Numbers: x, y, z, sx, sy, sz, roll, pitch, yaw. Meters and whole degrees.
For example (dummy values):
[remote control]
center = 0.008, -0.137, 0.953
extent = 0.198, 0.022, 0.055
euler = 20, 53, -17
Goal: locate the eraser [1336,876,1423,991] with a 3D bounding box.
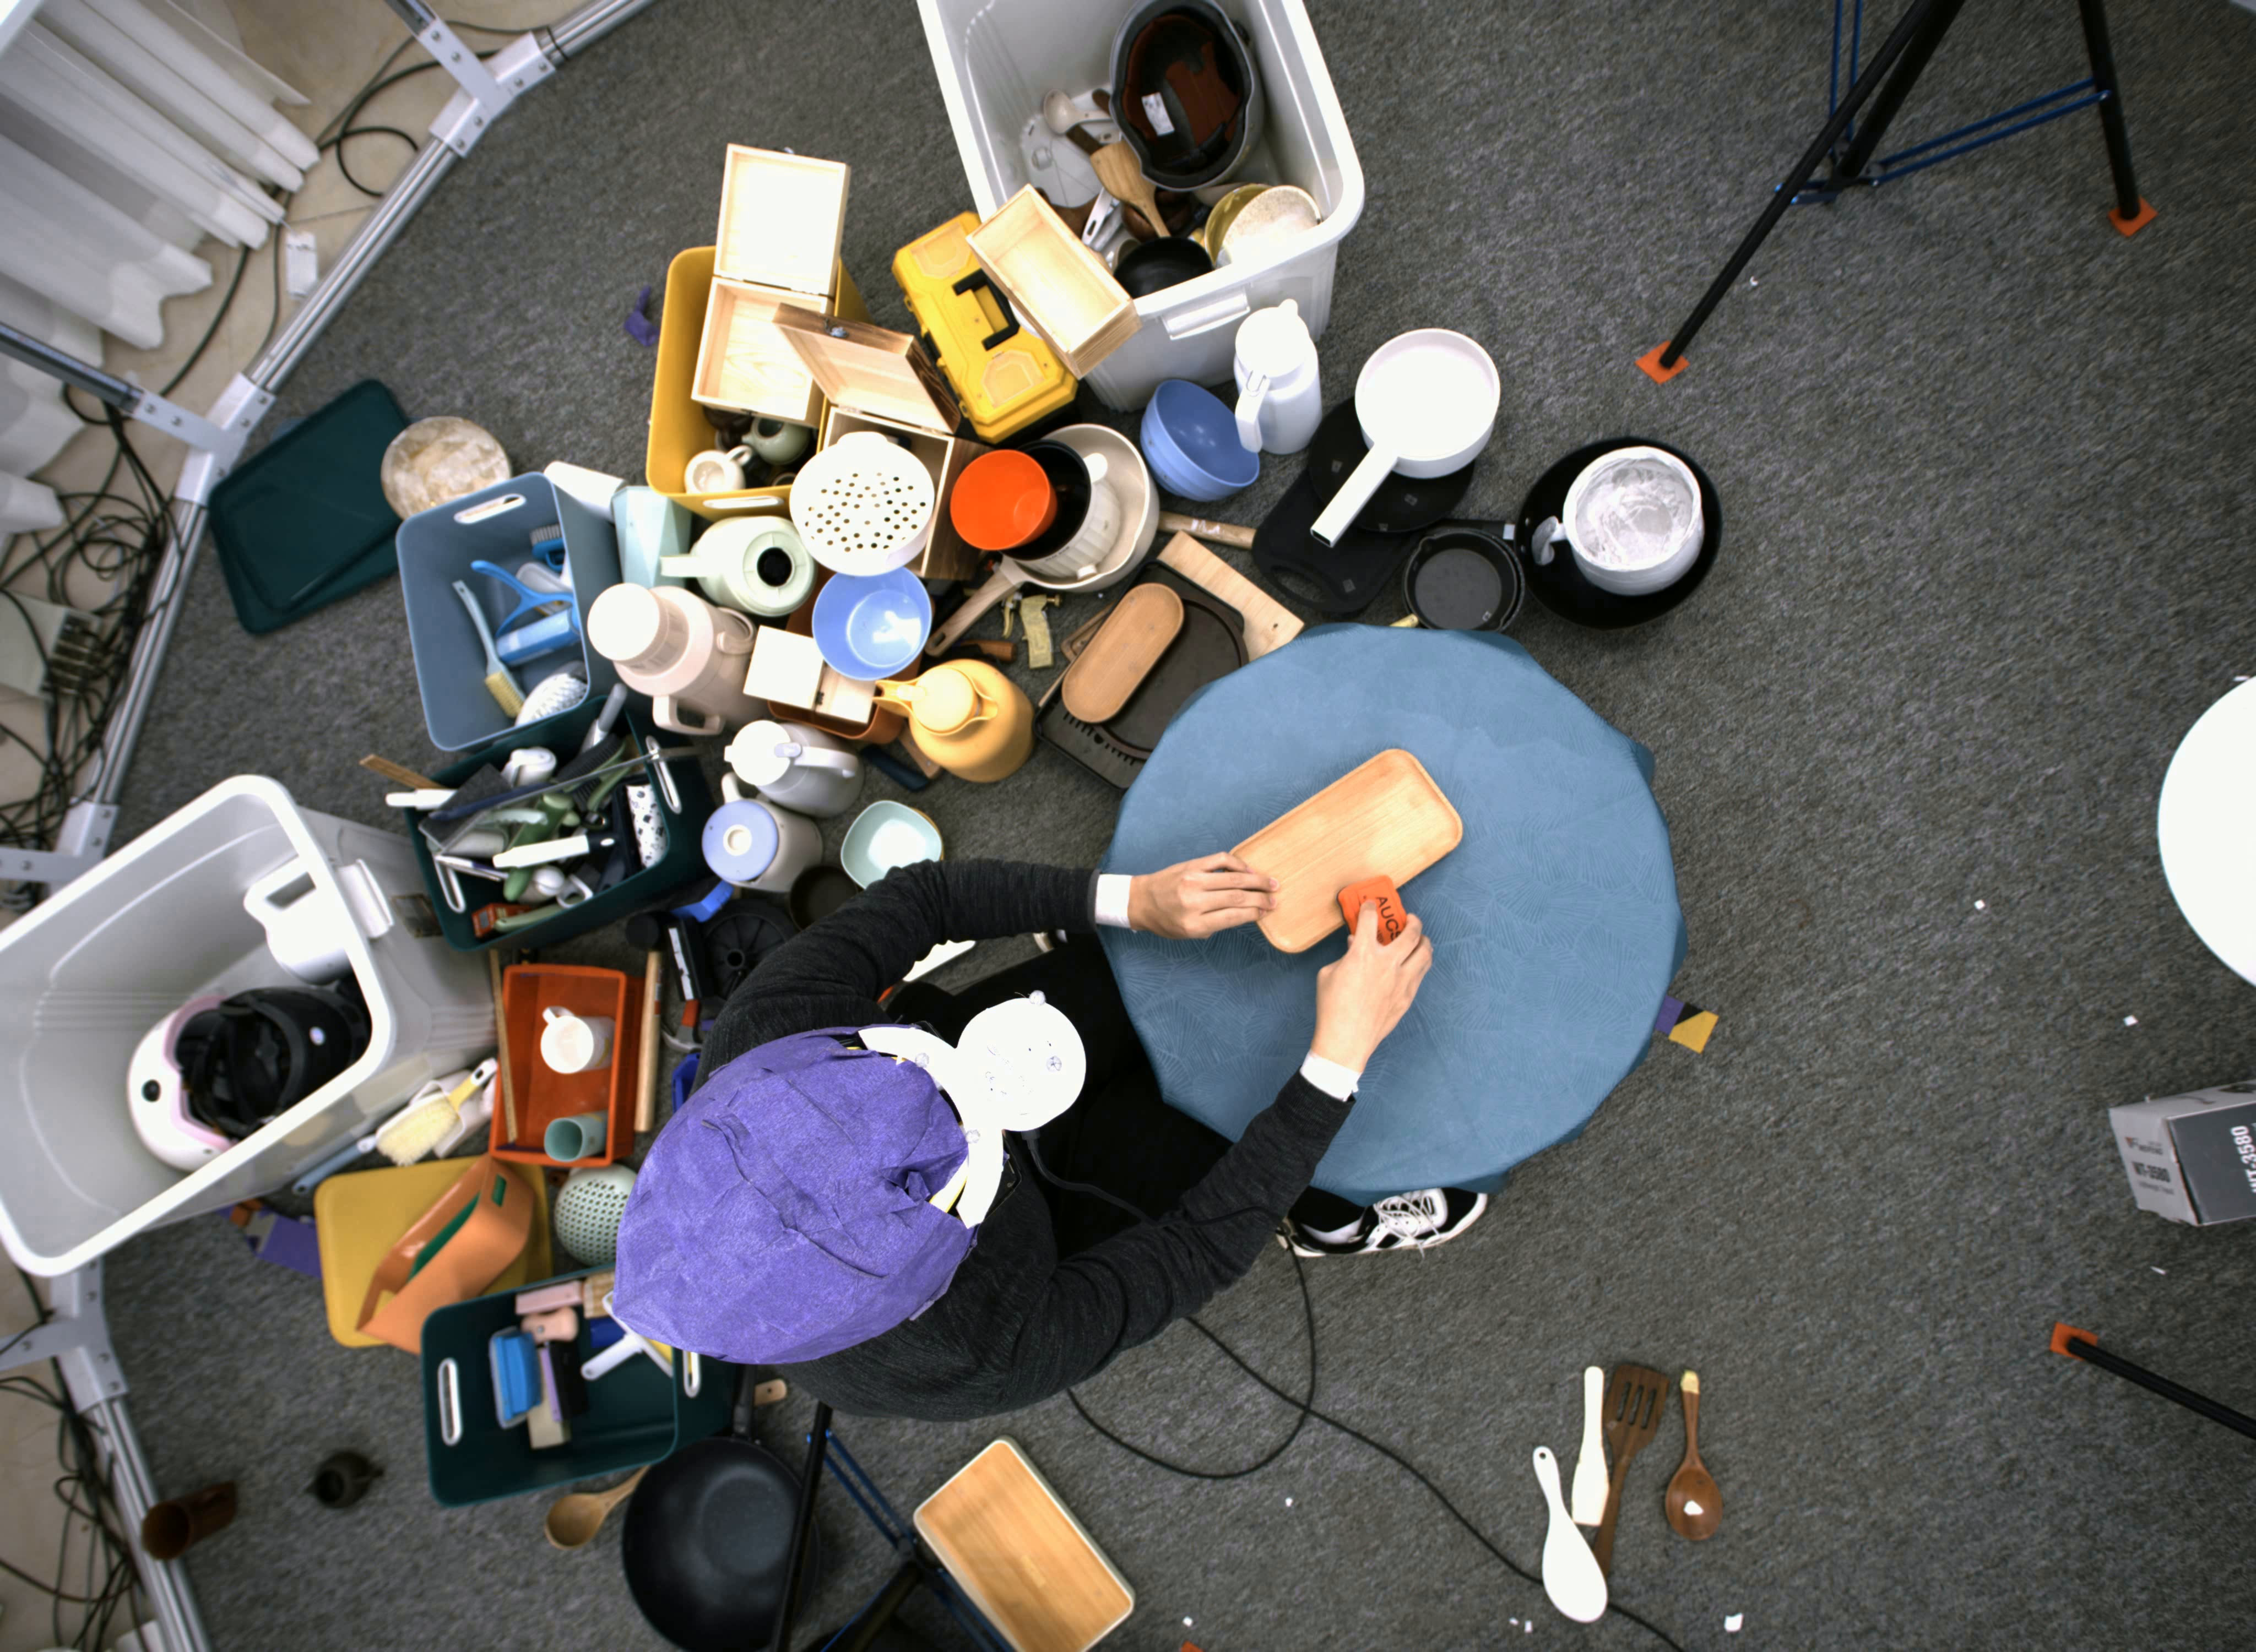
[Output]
[eraser]
center = 0.253, 0.107, 1.389
extent = 0.059, 0.023, 0.107
euler = -18, 84, -10

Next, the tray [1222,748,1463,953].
[tray]
center = 0.222, 0.023, 1.423
extent = 0.249, 0.023, 0.129
euler = -31, 79, -12
